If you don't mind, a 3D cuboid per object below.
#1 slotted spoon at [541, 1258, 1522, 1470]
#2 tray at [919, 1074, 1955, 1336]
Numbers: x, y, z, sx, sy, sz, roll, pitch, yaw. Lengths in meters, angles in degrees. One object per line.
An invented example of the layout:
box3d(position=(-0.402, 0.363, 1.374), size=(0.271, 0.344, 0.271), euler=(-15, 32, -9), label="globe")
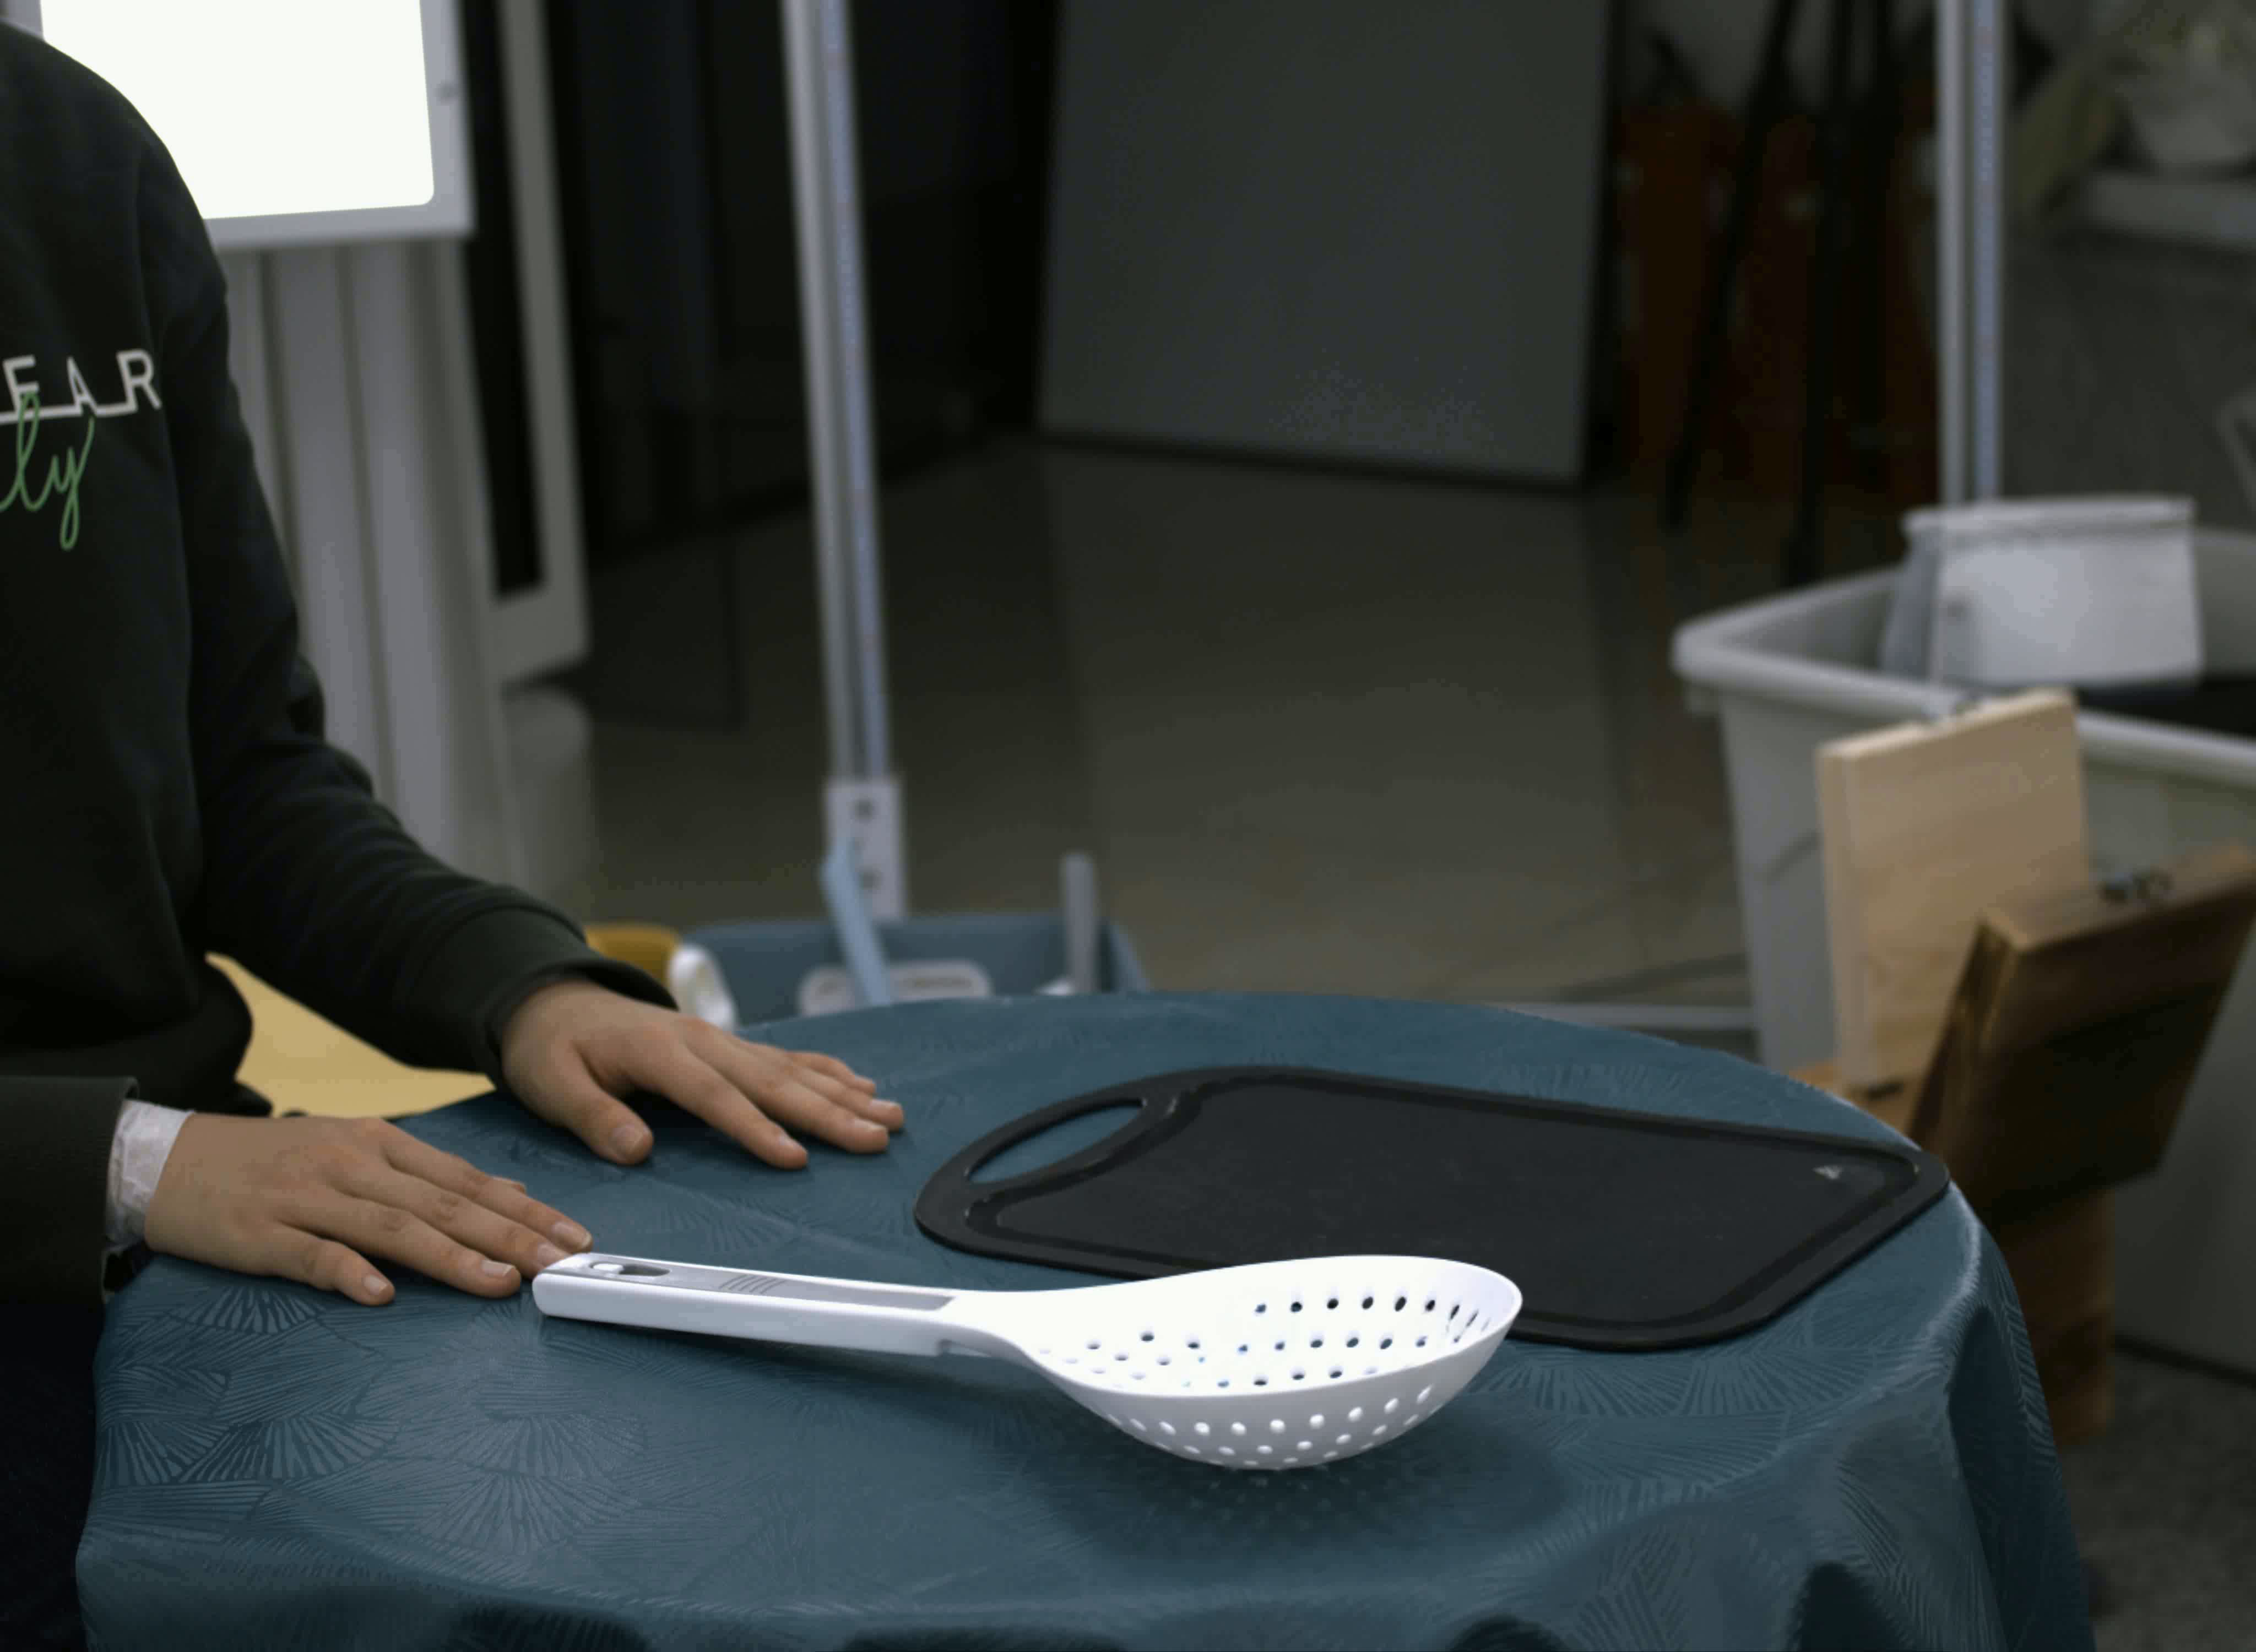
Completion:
box3d(position=(-0.040, 0.147, 1.585), size=(0.352, 0.046, 0.133), euler=(6, 15, 38), label="slotted spoon")
box3d(position=(0.091, 0.118, 1.743), size=(0.327, 0.010, 0.207), euler=(5, 16, 34), label="tray")
